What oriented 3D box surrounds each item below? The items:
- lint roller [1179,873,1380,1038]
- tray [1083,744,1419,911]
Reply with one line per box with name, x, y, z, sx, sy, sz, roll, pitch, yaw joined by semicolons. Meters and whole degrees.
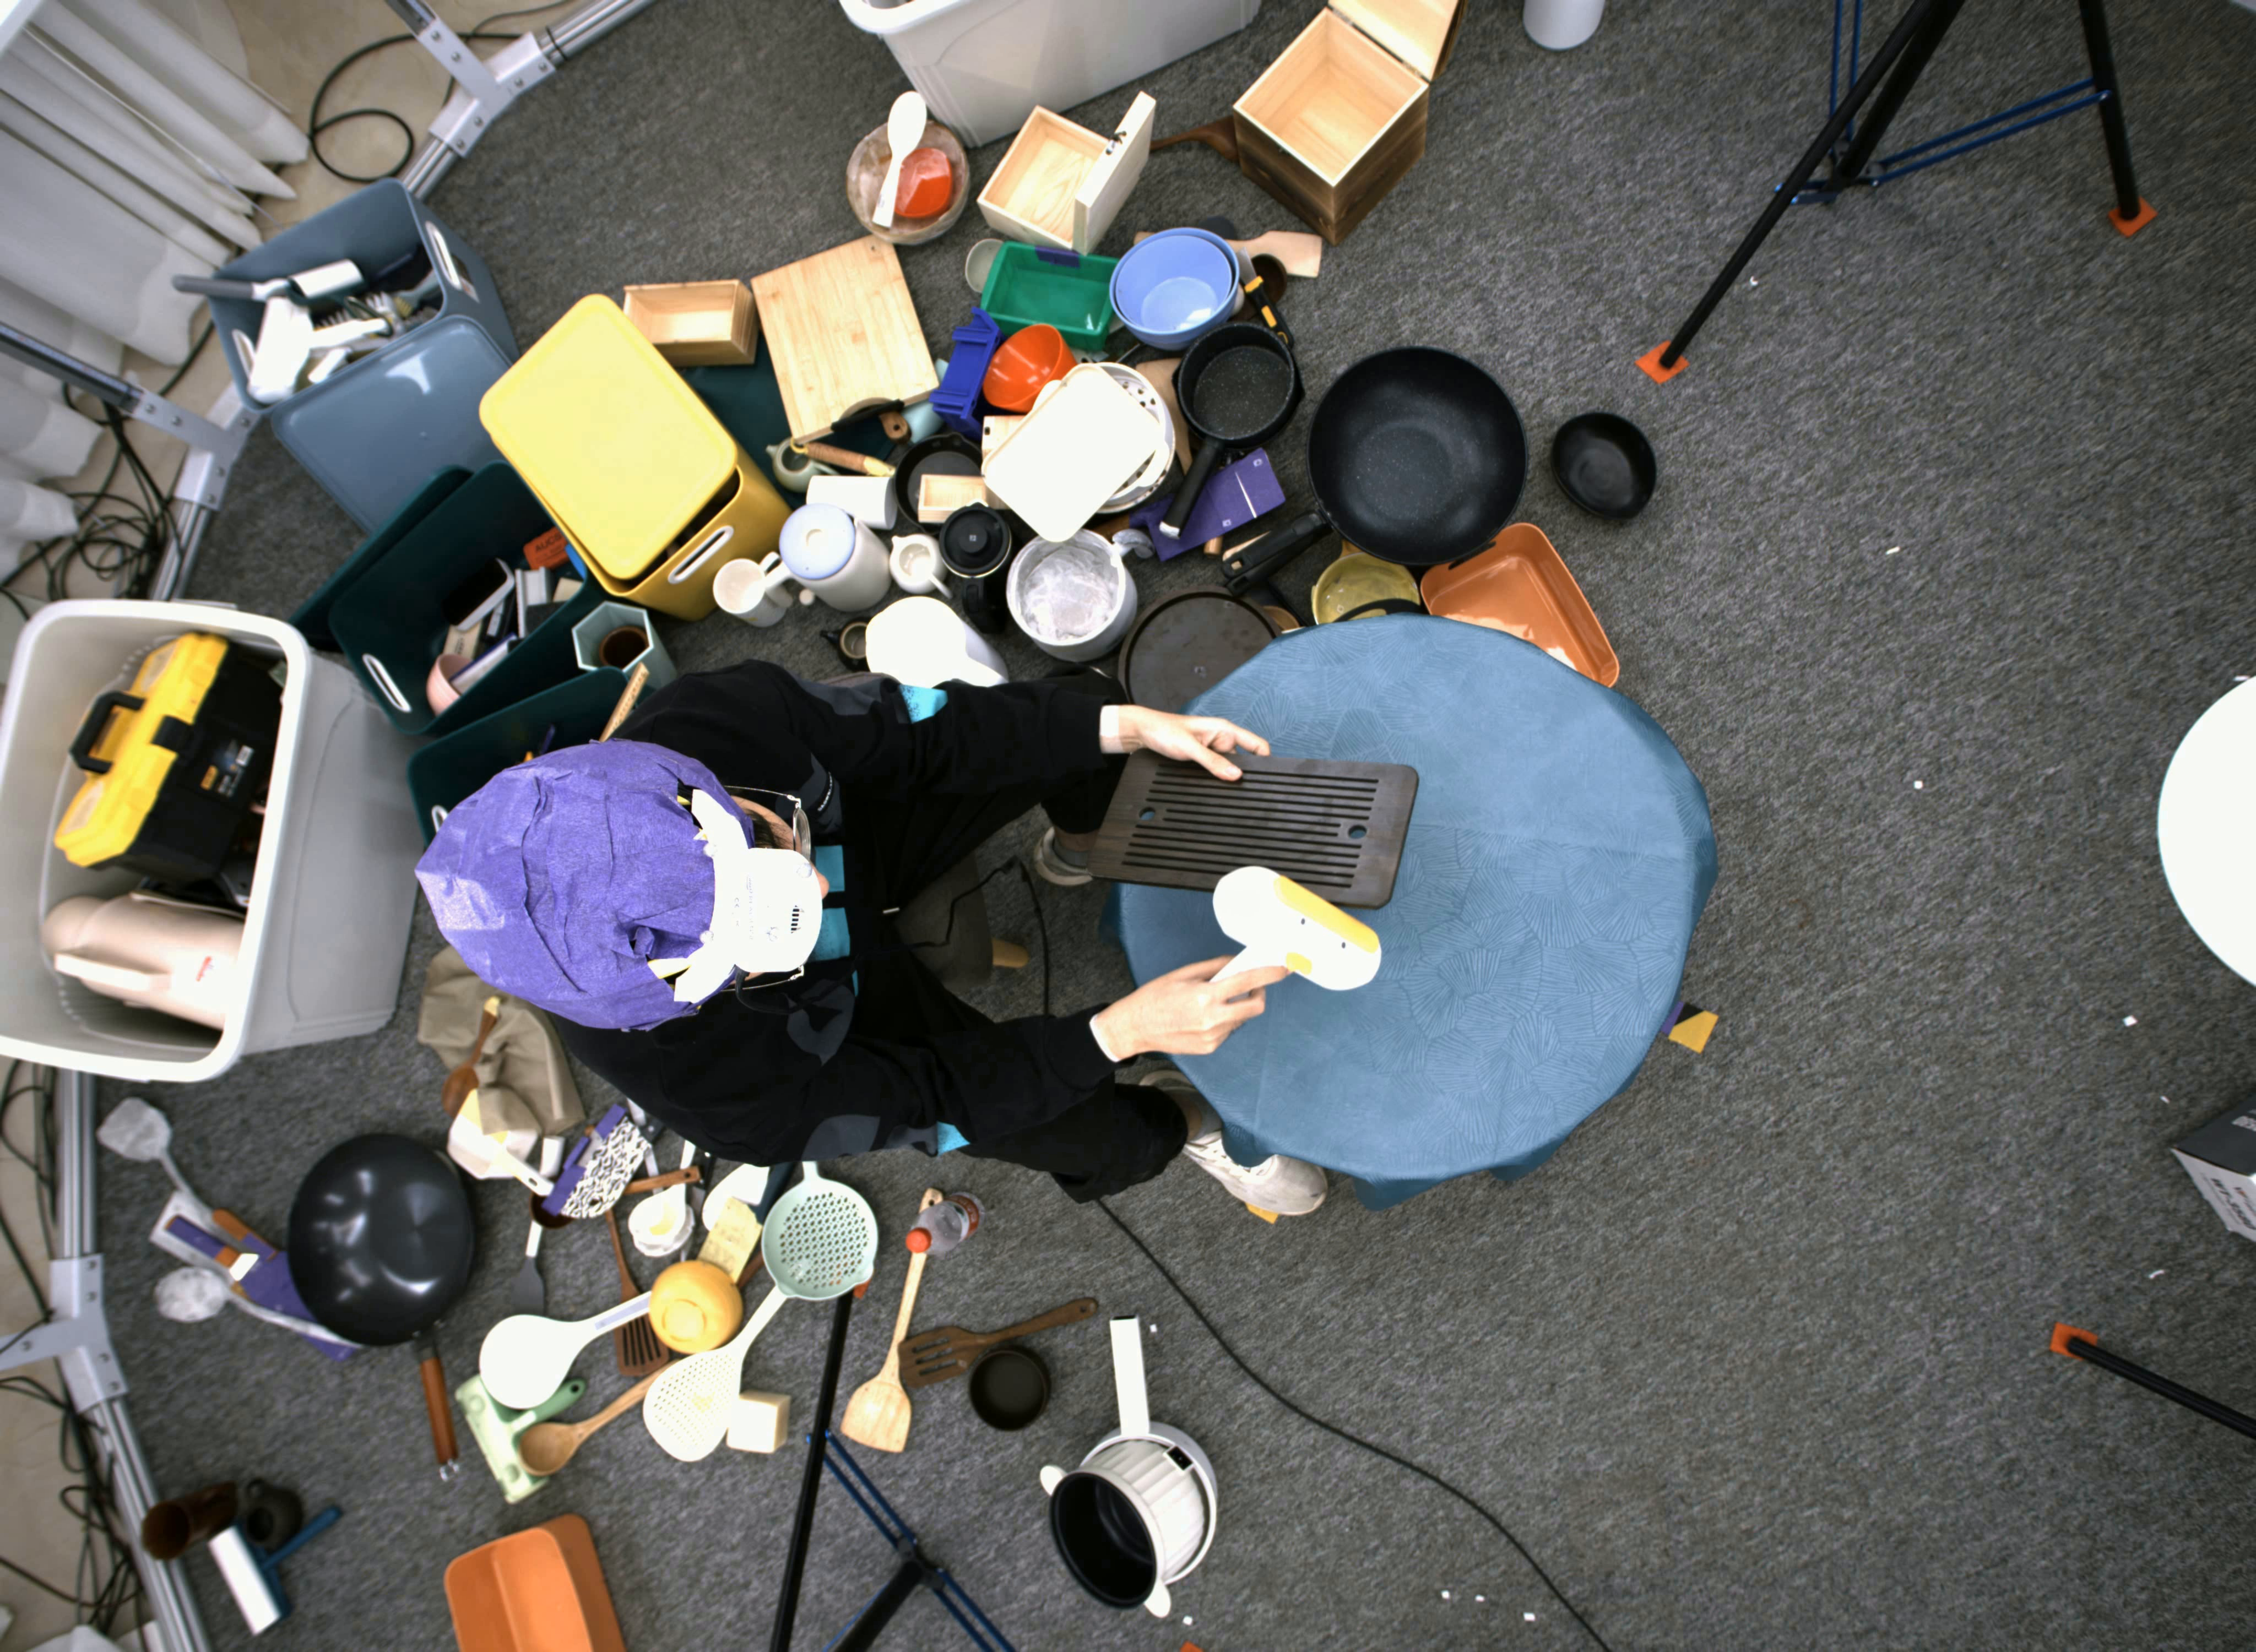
lint roller;0.116;0.132;1.298;0.196;0.193;0.072;-38;46;36
tray;0.120;-0.002;1.353;0.307;0.019;0.166;6;57;23
